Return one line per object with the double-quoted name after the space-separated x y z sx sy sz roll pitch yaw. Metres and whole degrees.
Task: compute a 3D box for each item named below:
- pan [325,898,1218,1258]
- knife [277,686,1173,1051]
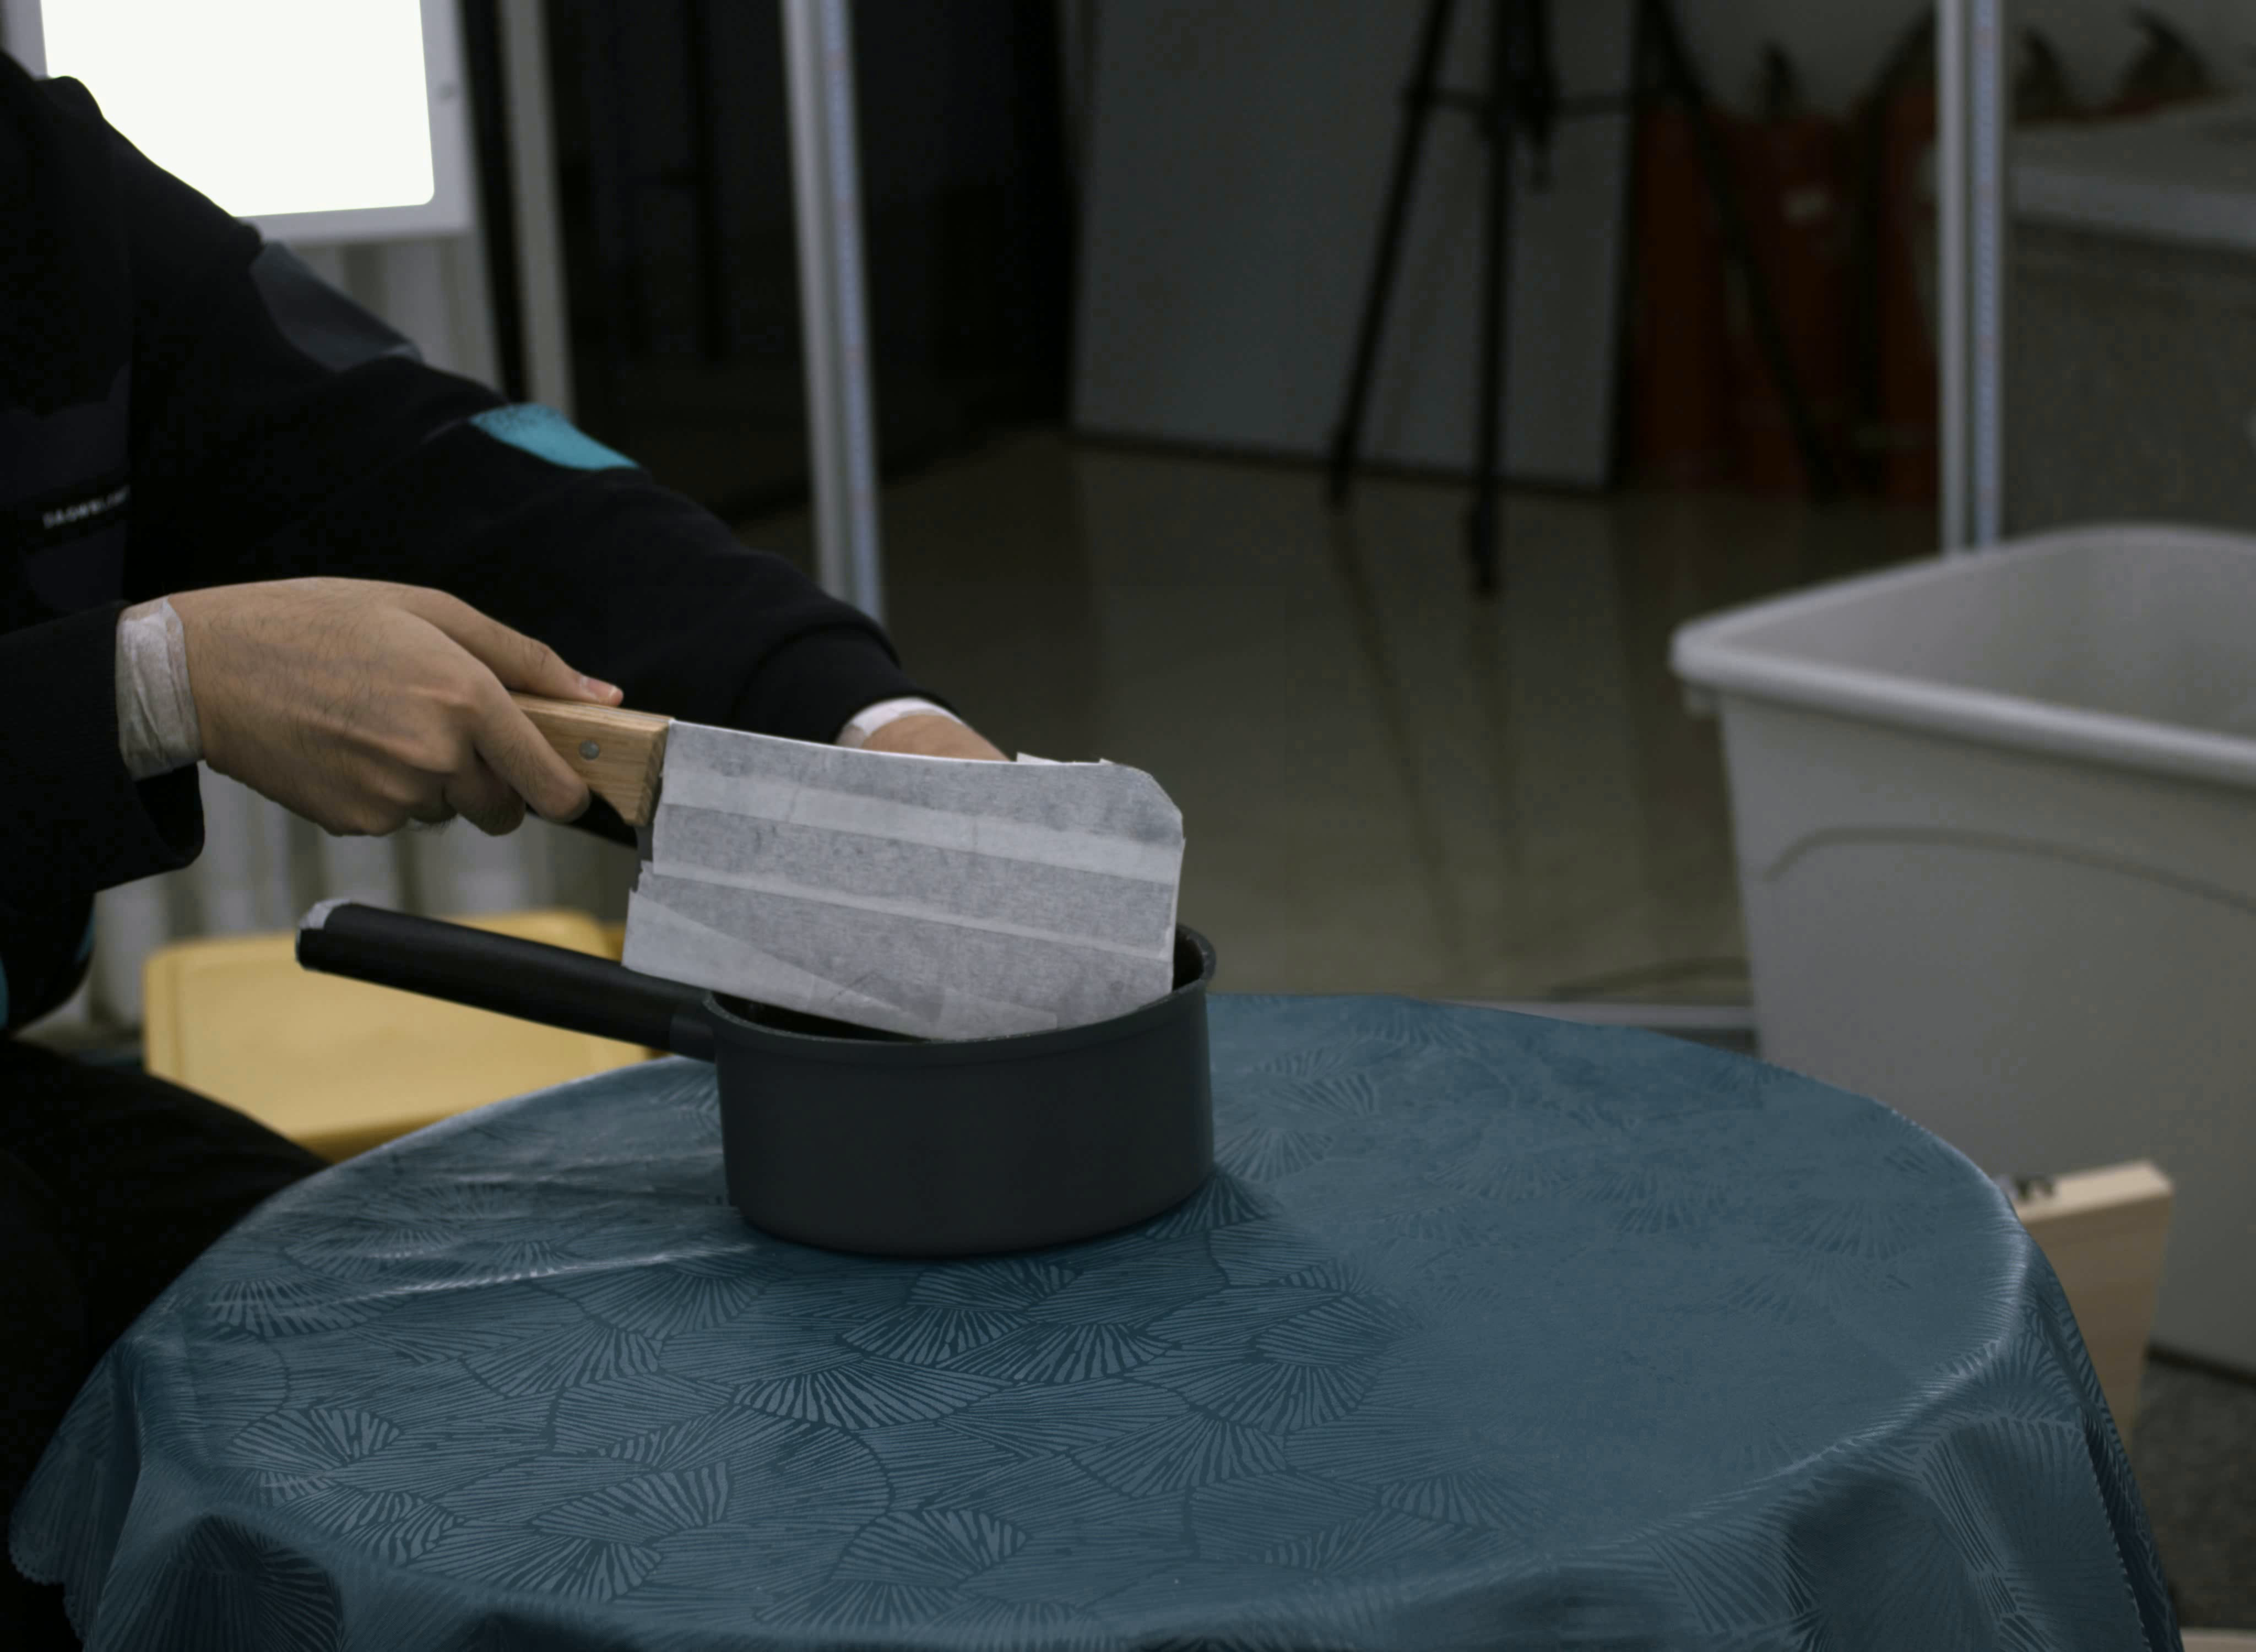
-0.124 0.077 1.811 0.329 0.087 0.170 3 13 25 "pan"
-0.129 0.001 1.756 0.313 0.115 0.021 13 12 11 "knife"
